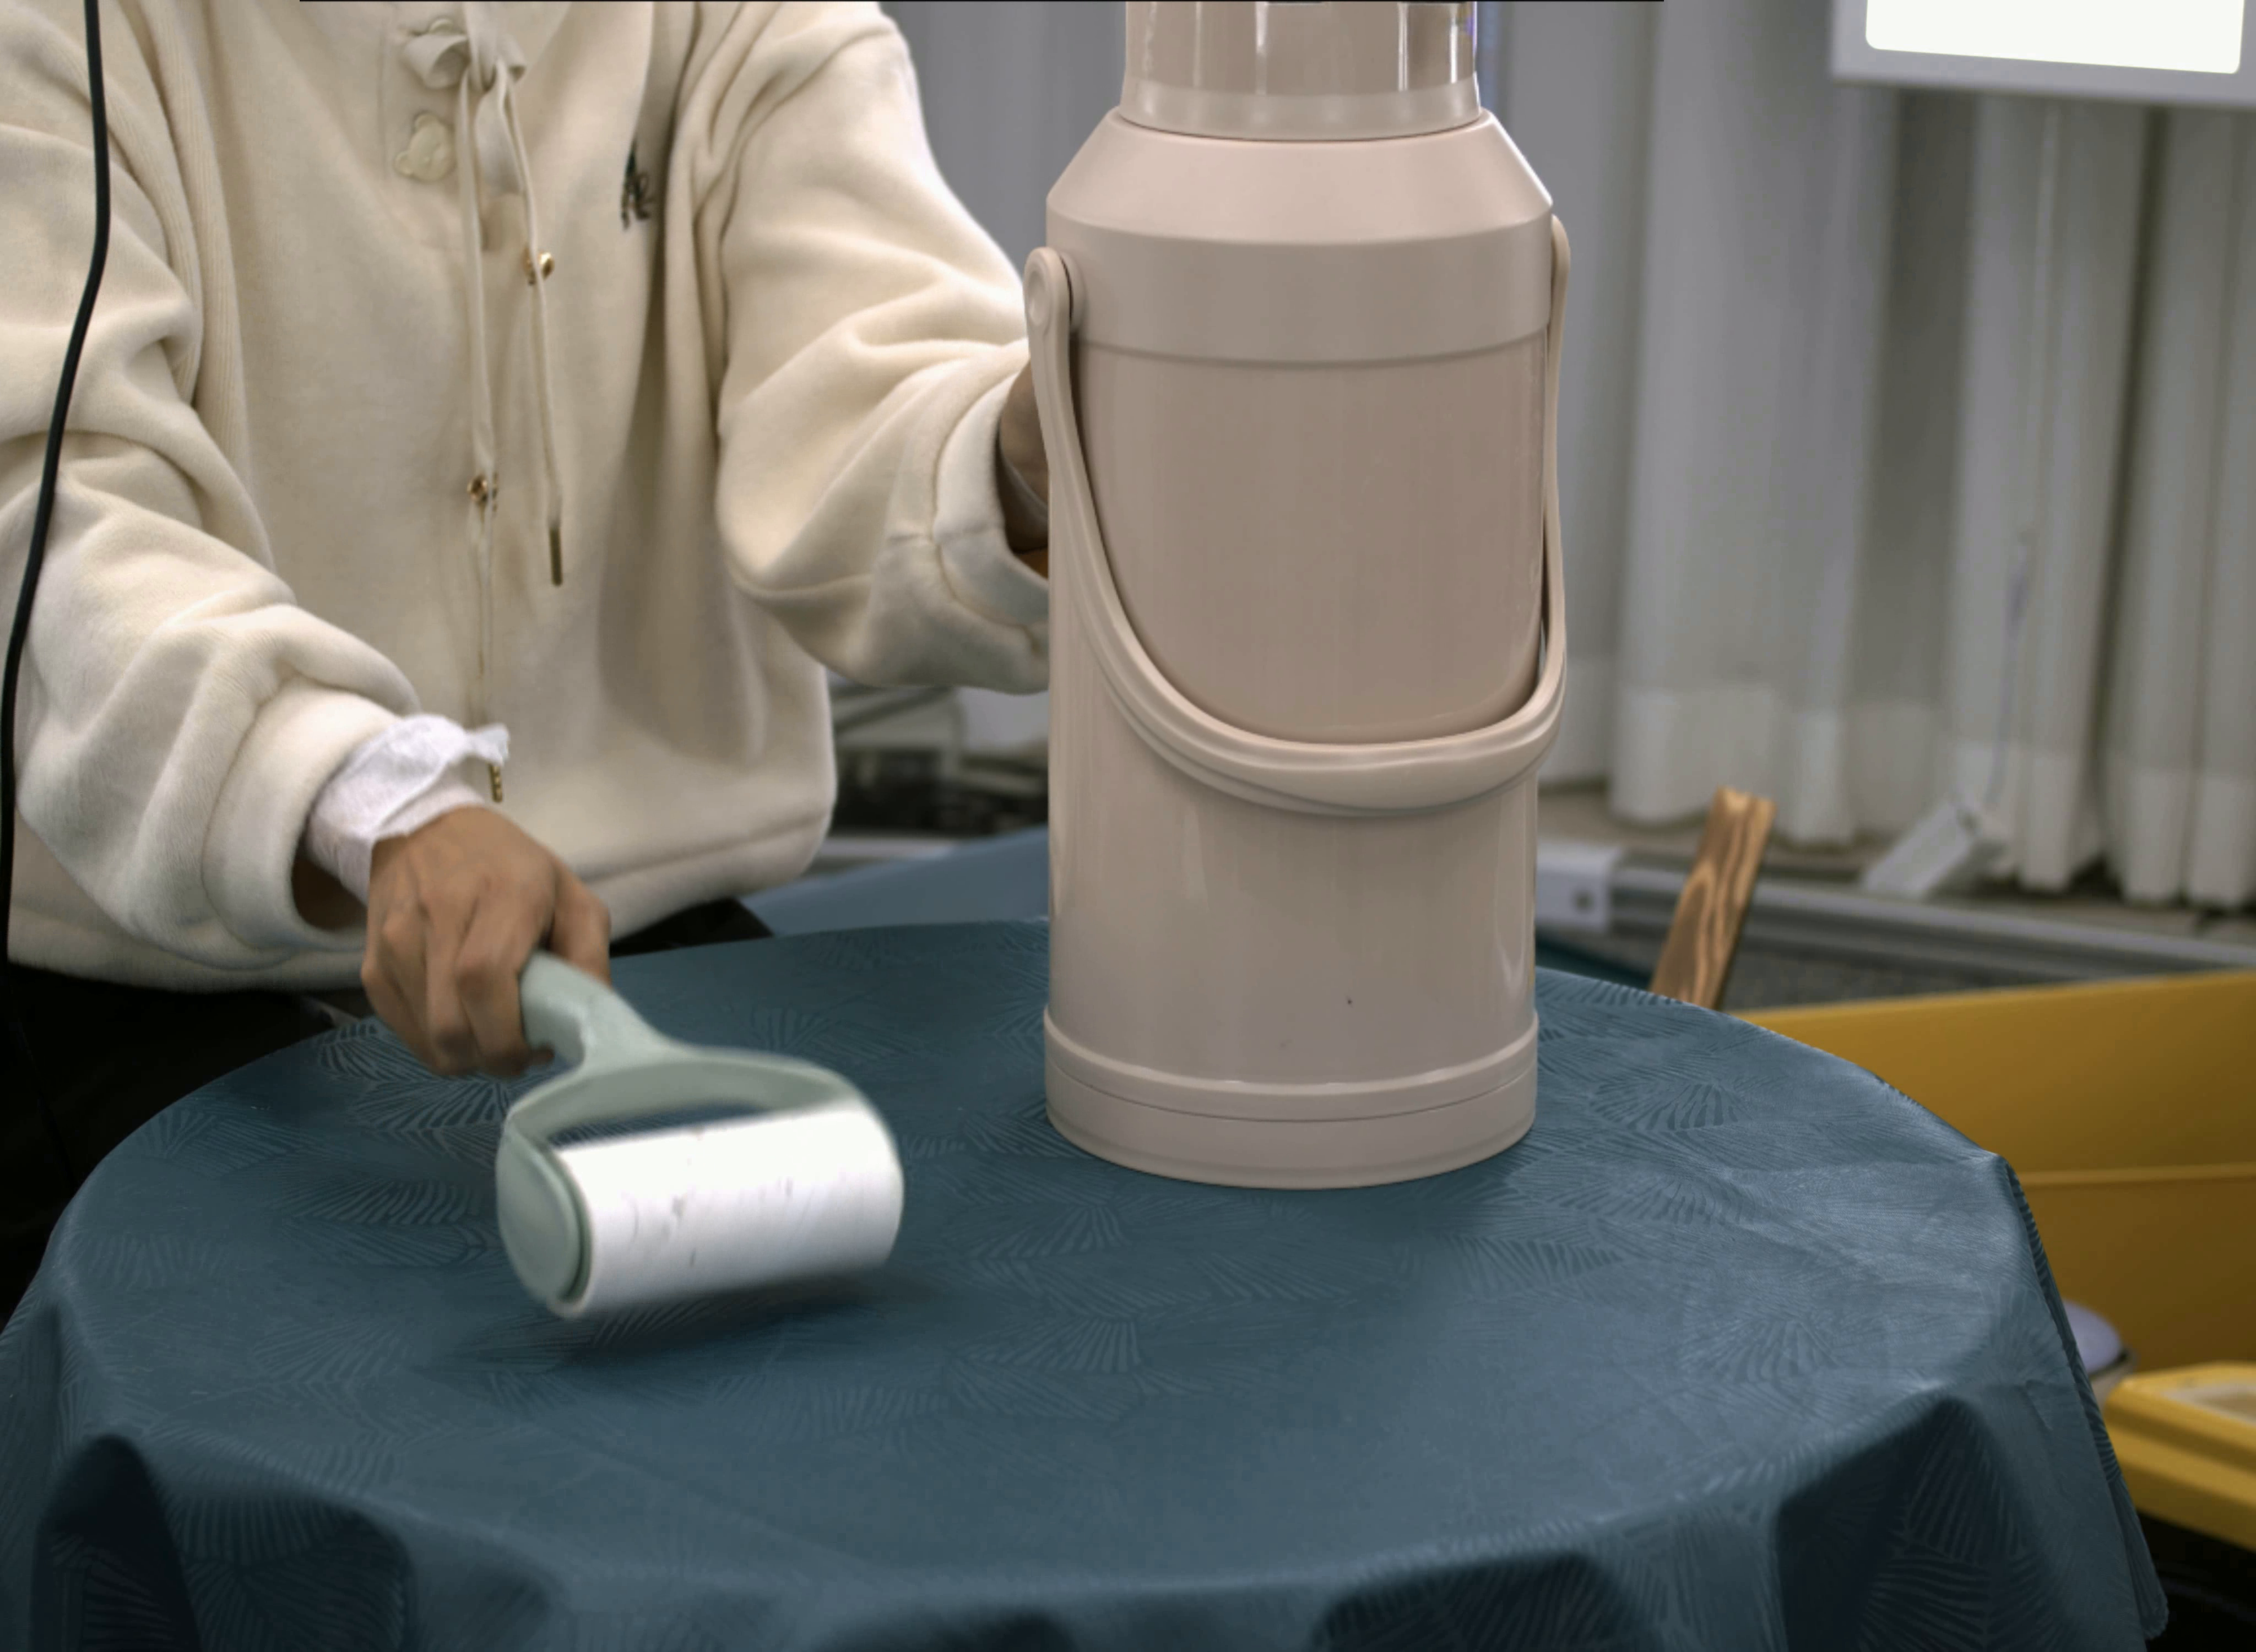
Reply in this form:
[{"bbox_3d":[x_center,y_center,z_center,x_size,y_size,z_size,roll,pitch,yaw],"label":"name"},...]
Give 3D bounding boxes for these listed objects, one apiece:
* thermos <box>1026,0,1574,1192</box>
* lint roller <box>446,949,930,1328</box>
[{"bbox_3d":[0.049,-0.102,1.653,0.176,0.410,0.204,-7,17,-22],"label":"thermos"},{"bbox_3d":[-0.149,0.076,1.558,0.117,0.049,0.195,-9,34,-31],"label":"lint roller"}]
